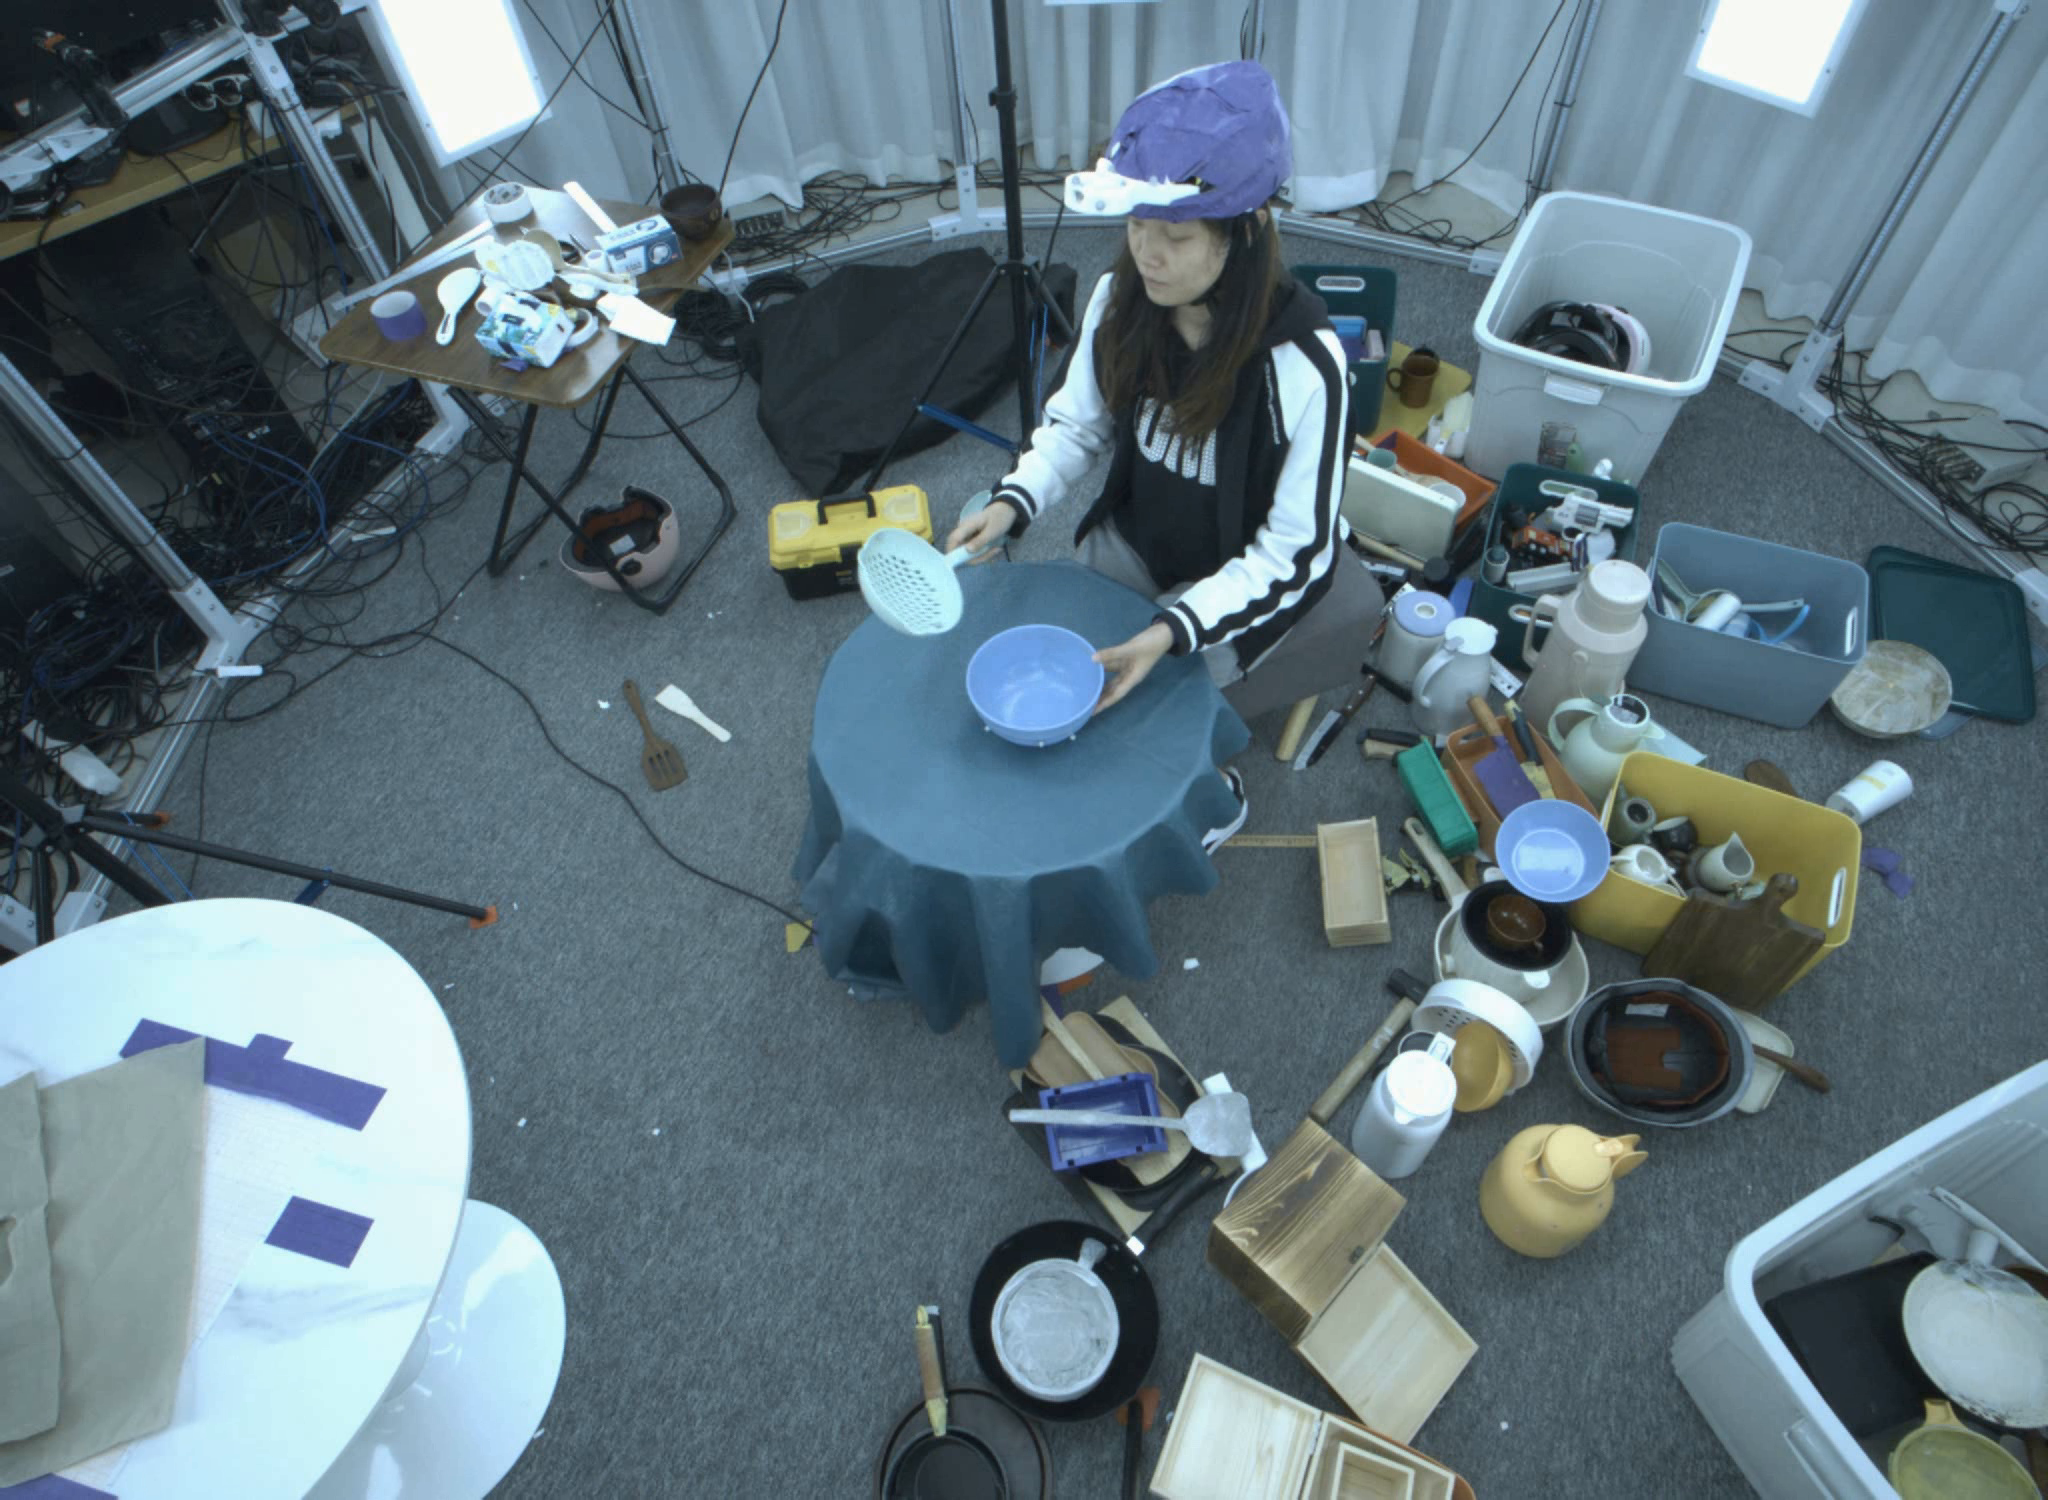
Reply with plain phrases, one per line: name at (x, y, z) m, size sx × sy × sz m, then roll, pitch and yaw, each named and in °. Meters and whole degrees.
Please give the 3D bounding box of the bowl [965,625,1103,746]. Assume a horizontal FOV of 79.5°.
bowl at (0.017, -0.078, 1.785) m, size 0.196 × 0.096 × 0.194 m, roll -1°, pitch 54°, yaw 2°

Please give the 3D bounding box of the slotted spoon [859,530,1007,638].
slotted spoon at (-0.112, -0.266, 1.773) m, size 0.170 × 0.074 × 0.362 m, roll 52°, pitch 45°, yaw -4°
